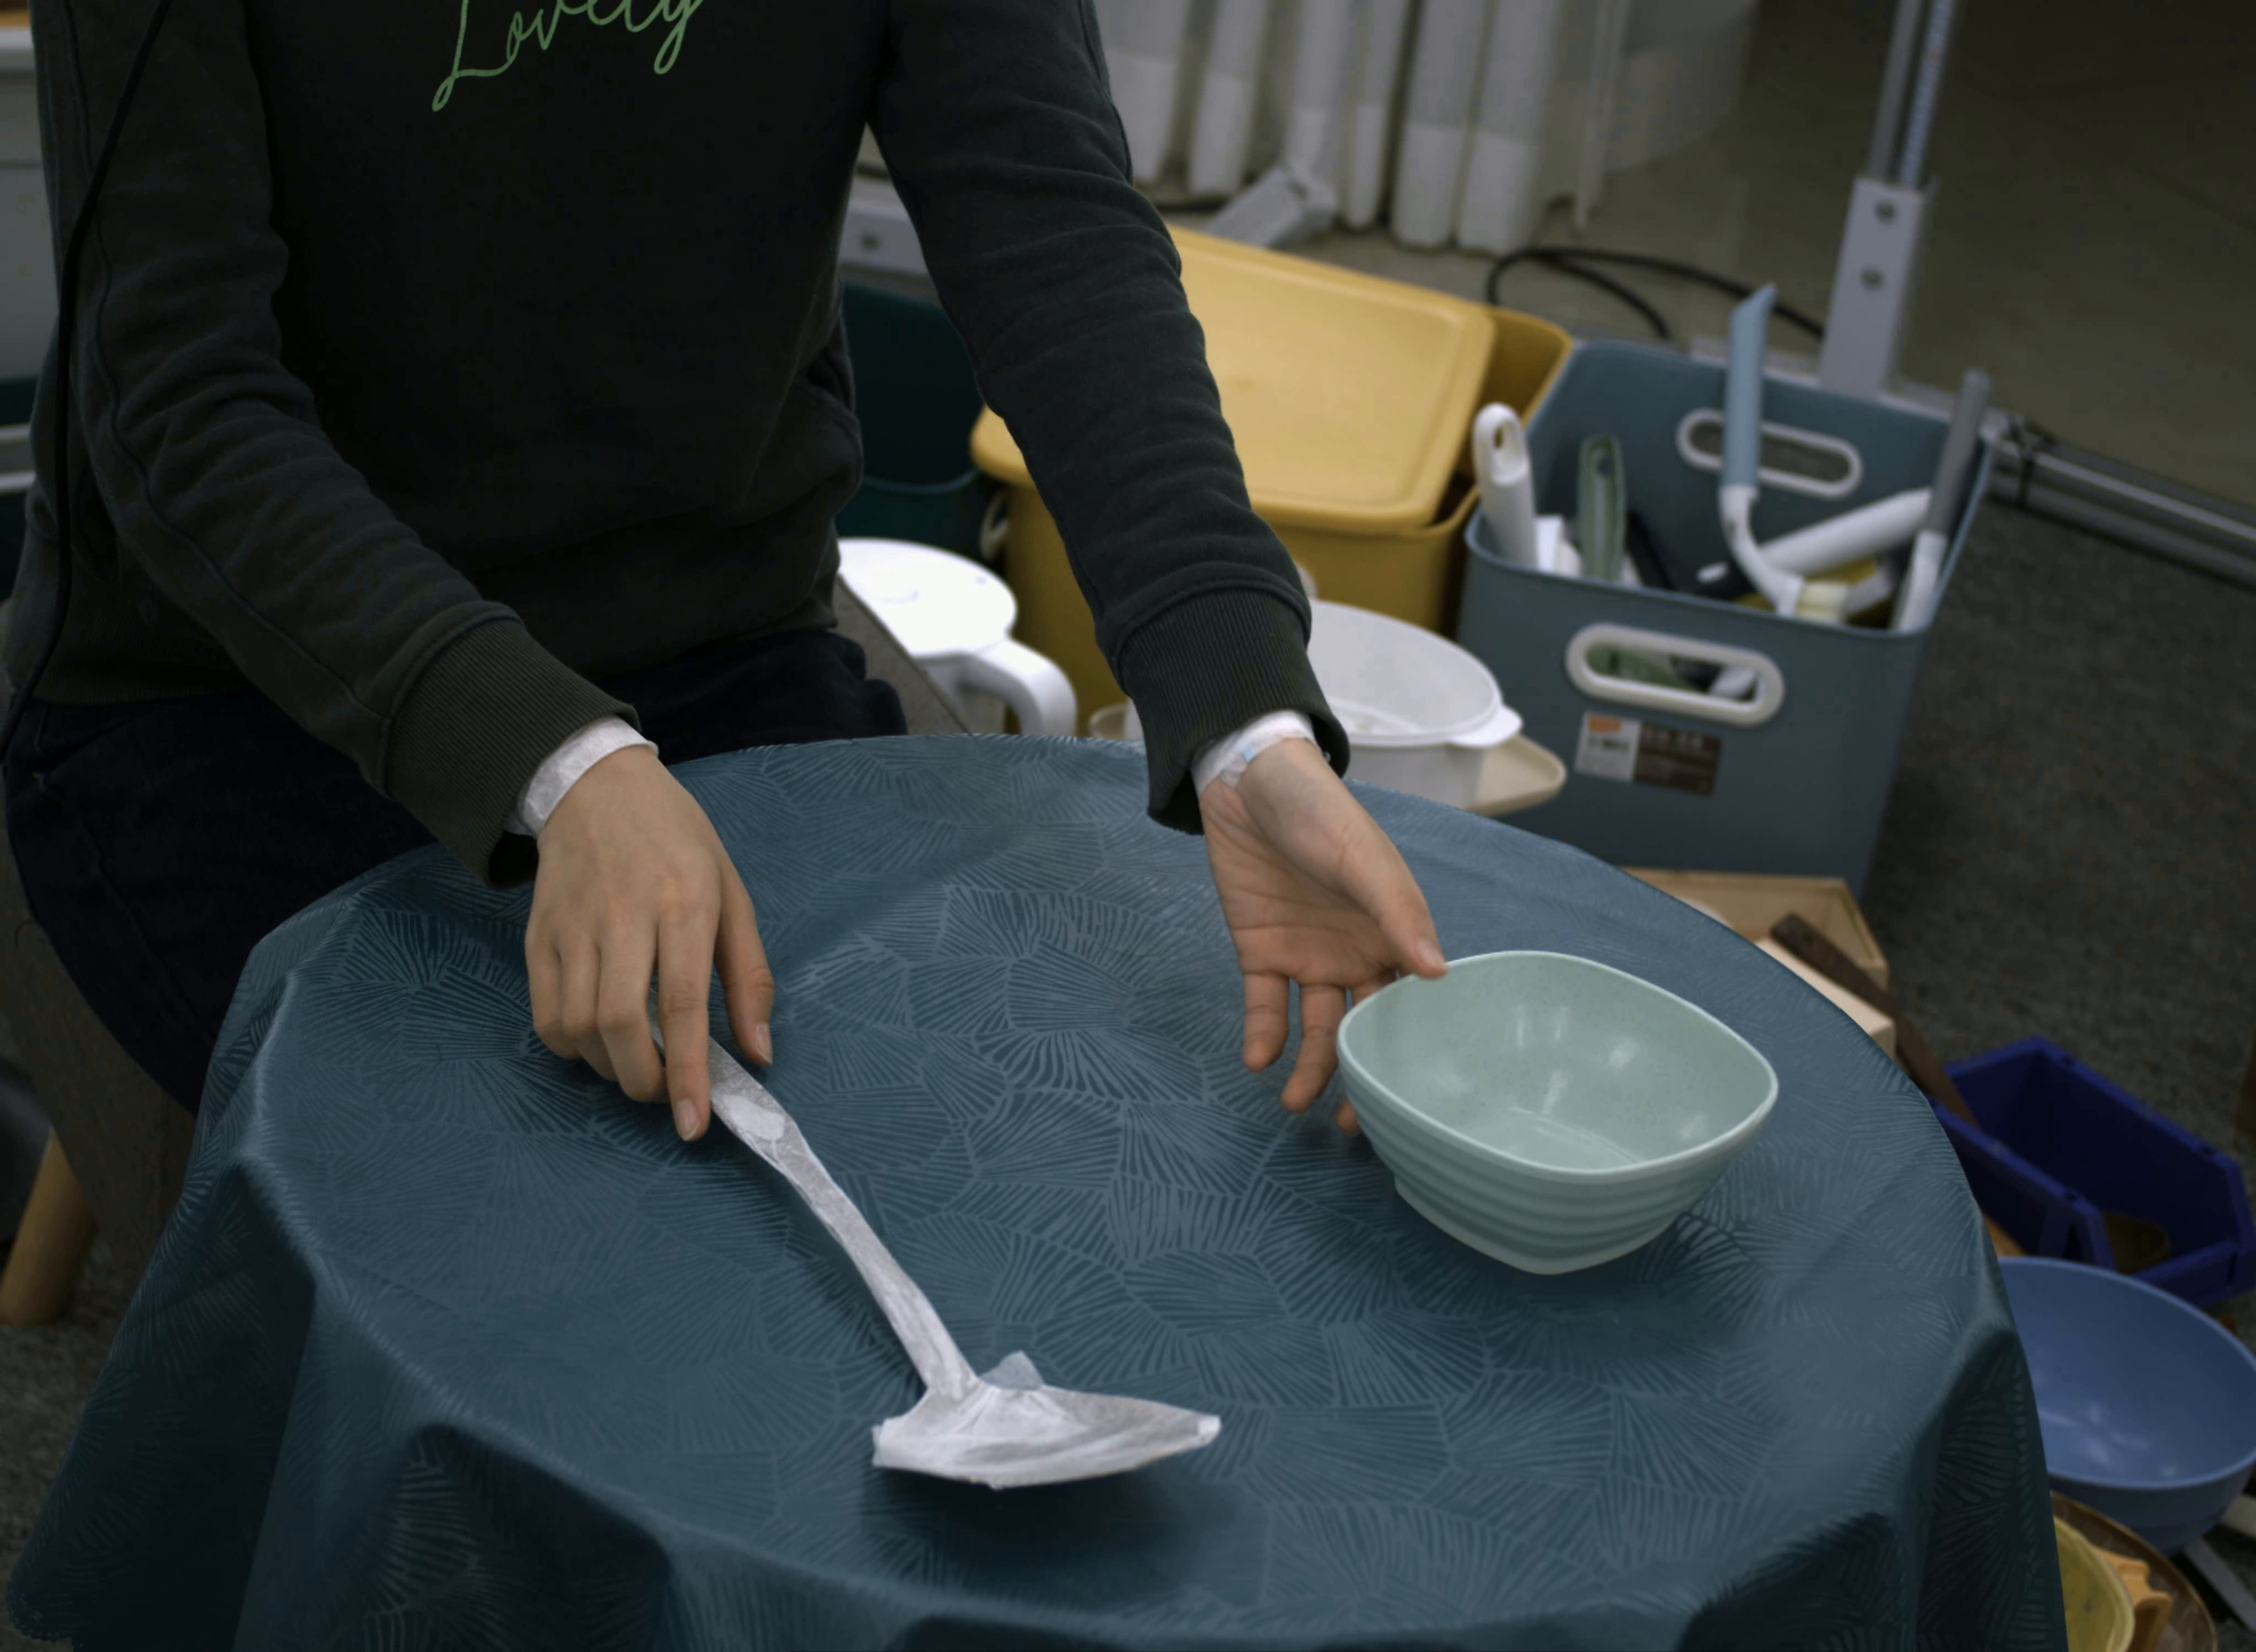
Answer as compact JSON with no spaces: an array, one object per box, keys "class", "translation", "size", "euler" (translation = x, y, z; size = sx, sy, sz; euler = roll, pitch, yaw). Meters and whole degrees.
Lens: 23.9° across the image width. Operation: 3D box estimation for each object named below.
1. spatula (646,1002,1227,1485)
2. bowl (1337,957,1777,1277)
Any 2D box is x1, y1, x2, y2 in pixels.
[{"class":"spatula","translation":[-0.087,0.127,1.731],"size":[0.098,0.044,0.368],"euler":[-9,31,-25]},{"class":"bowl","translation":[0.141,0.105,1.809],"size":[0.151,0.058,0.152],"euler":[8,25,-4]}]
